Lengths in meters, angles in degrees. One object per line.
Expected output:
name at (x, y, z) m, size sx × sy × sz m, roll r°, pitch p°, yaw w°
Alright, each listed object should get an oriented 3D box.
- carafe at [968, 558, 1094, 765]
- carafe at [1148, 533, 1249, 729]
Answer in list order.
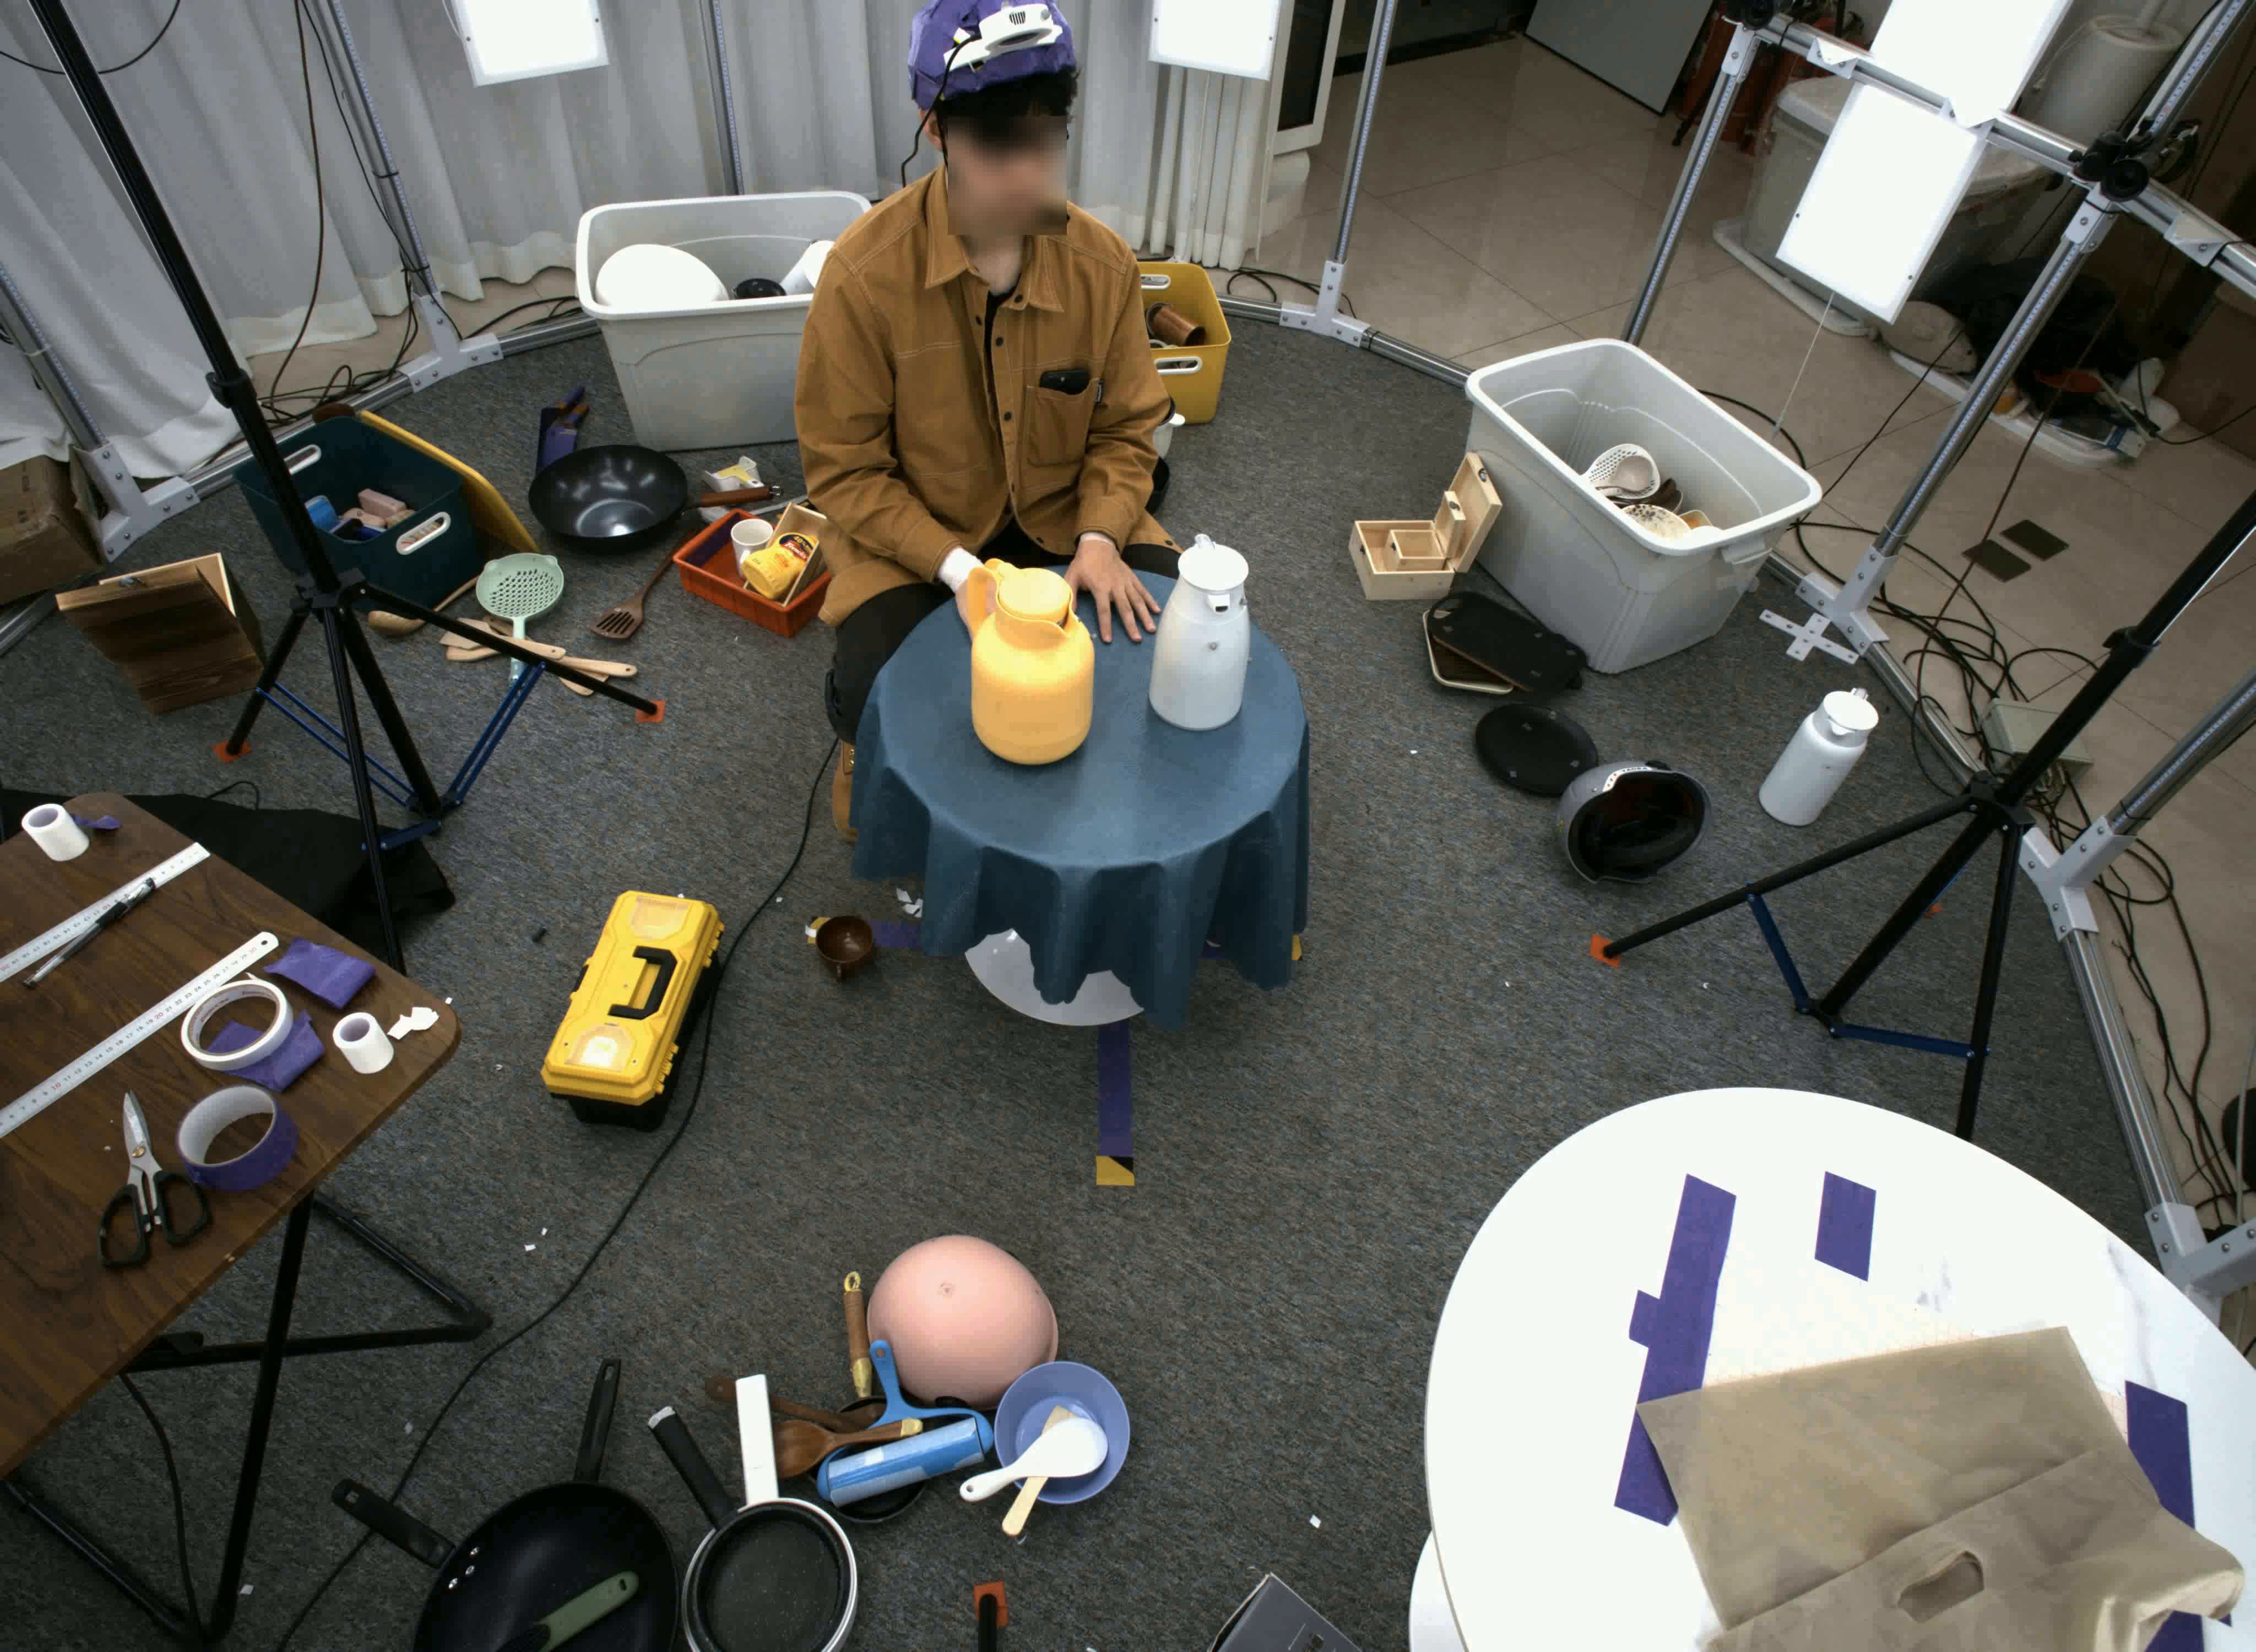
carafe at (-0.137, -0.225, 1.689) m, size 0.164 × 0.254 × 0.206 m, roll -30°, pitch 58°, yaw -29°
carafe at (0.098, -0.277, 1.754) m, size 0.132 × 0.242 × 0.172 m, roll -5°, pitch 50°, yaw -9°
